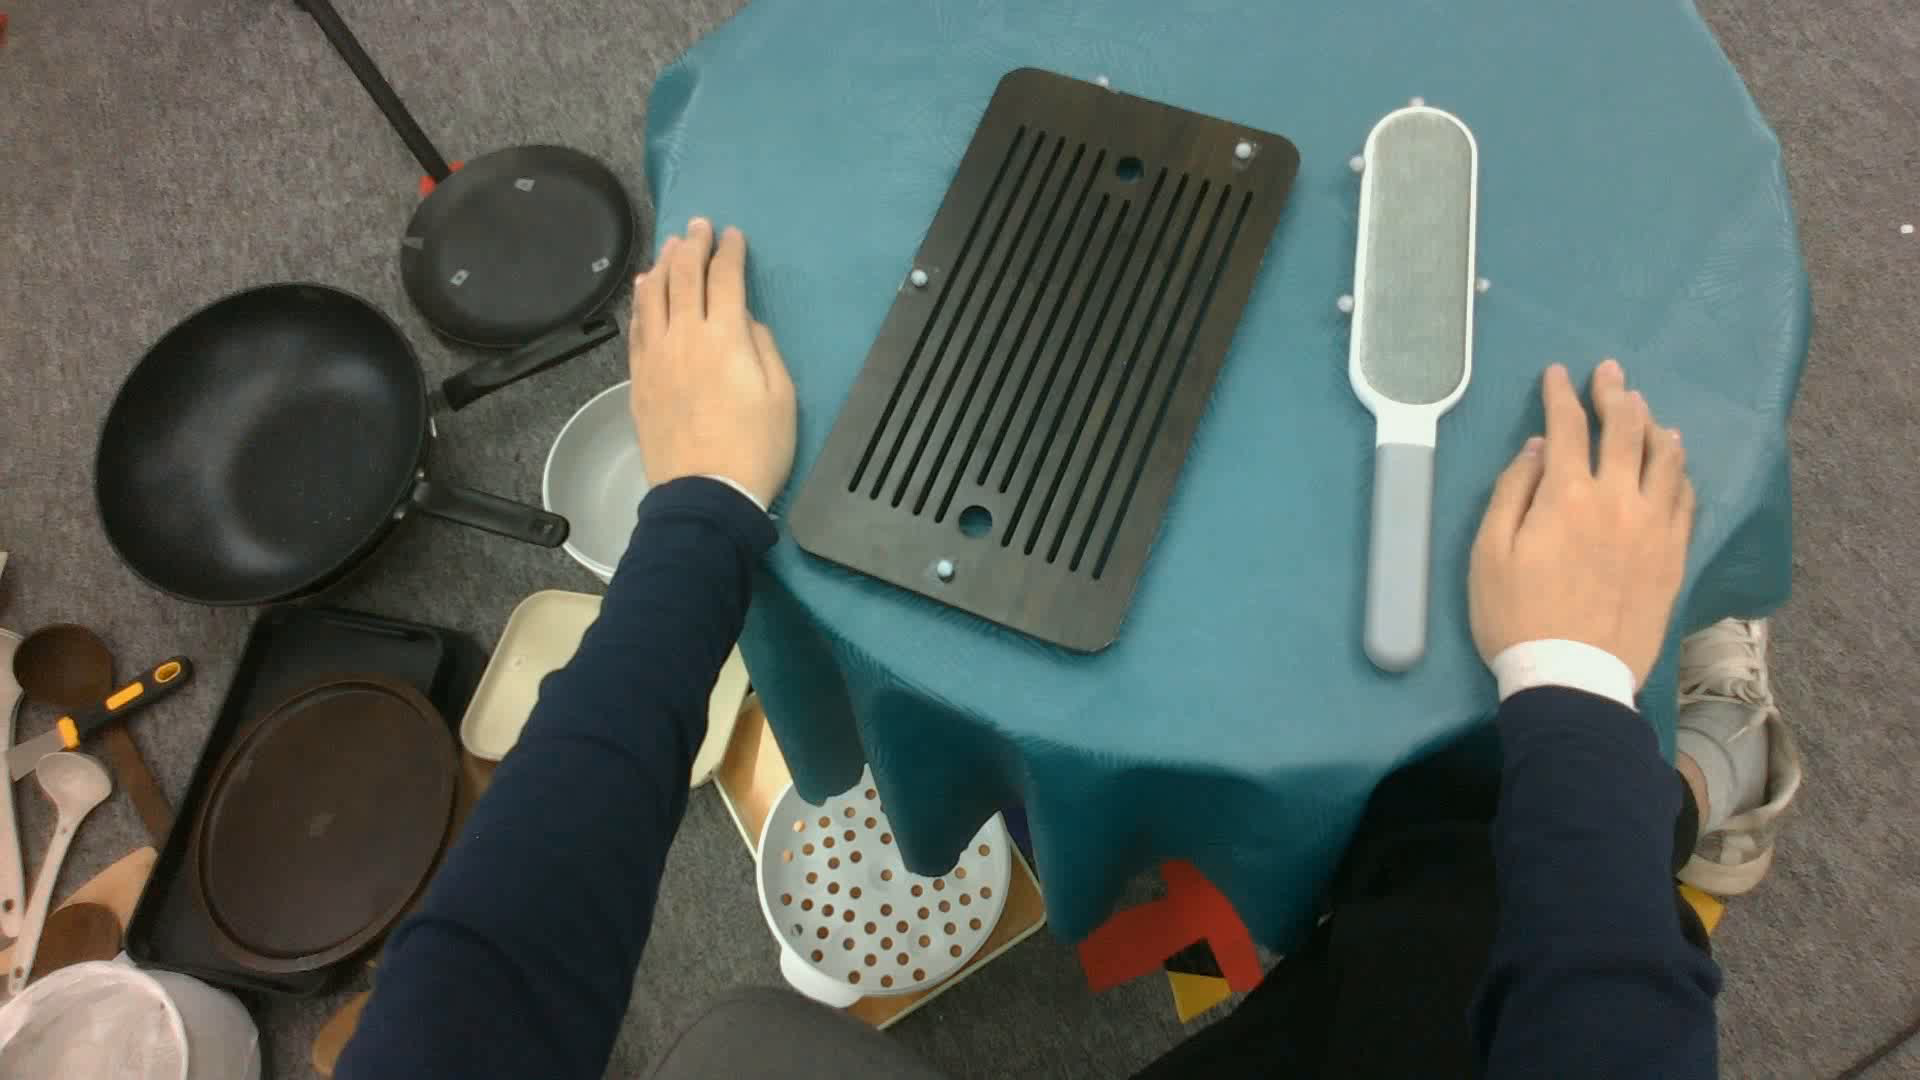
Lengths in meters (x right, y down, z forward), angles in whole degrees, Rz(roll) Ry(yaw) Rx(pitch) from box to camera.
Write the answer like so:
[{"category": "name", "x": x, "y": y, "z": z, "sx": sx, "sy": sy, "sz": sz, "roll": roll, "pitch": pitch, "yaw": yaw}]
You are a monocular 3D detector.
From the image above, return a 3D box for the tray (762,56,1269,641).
[{"category": "tray", "x": 0.034, "y": -0.109, "z": 0.703, "sx": 0.170, "sy": 0.018, "sz": 0.307, "roll": 19, "pitch": 71, "yaw": 10}]

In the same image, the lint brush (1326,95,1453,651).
[{"category": "lint brush", "x": 0.210, "y": -0.093, "z": 0.680, "sx": 0.060, "sy": 0.021, "sz": 0.310, "roll": 9, "pitch": 69, "yaw": 2}]
